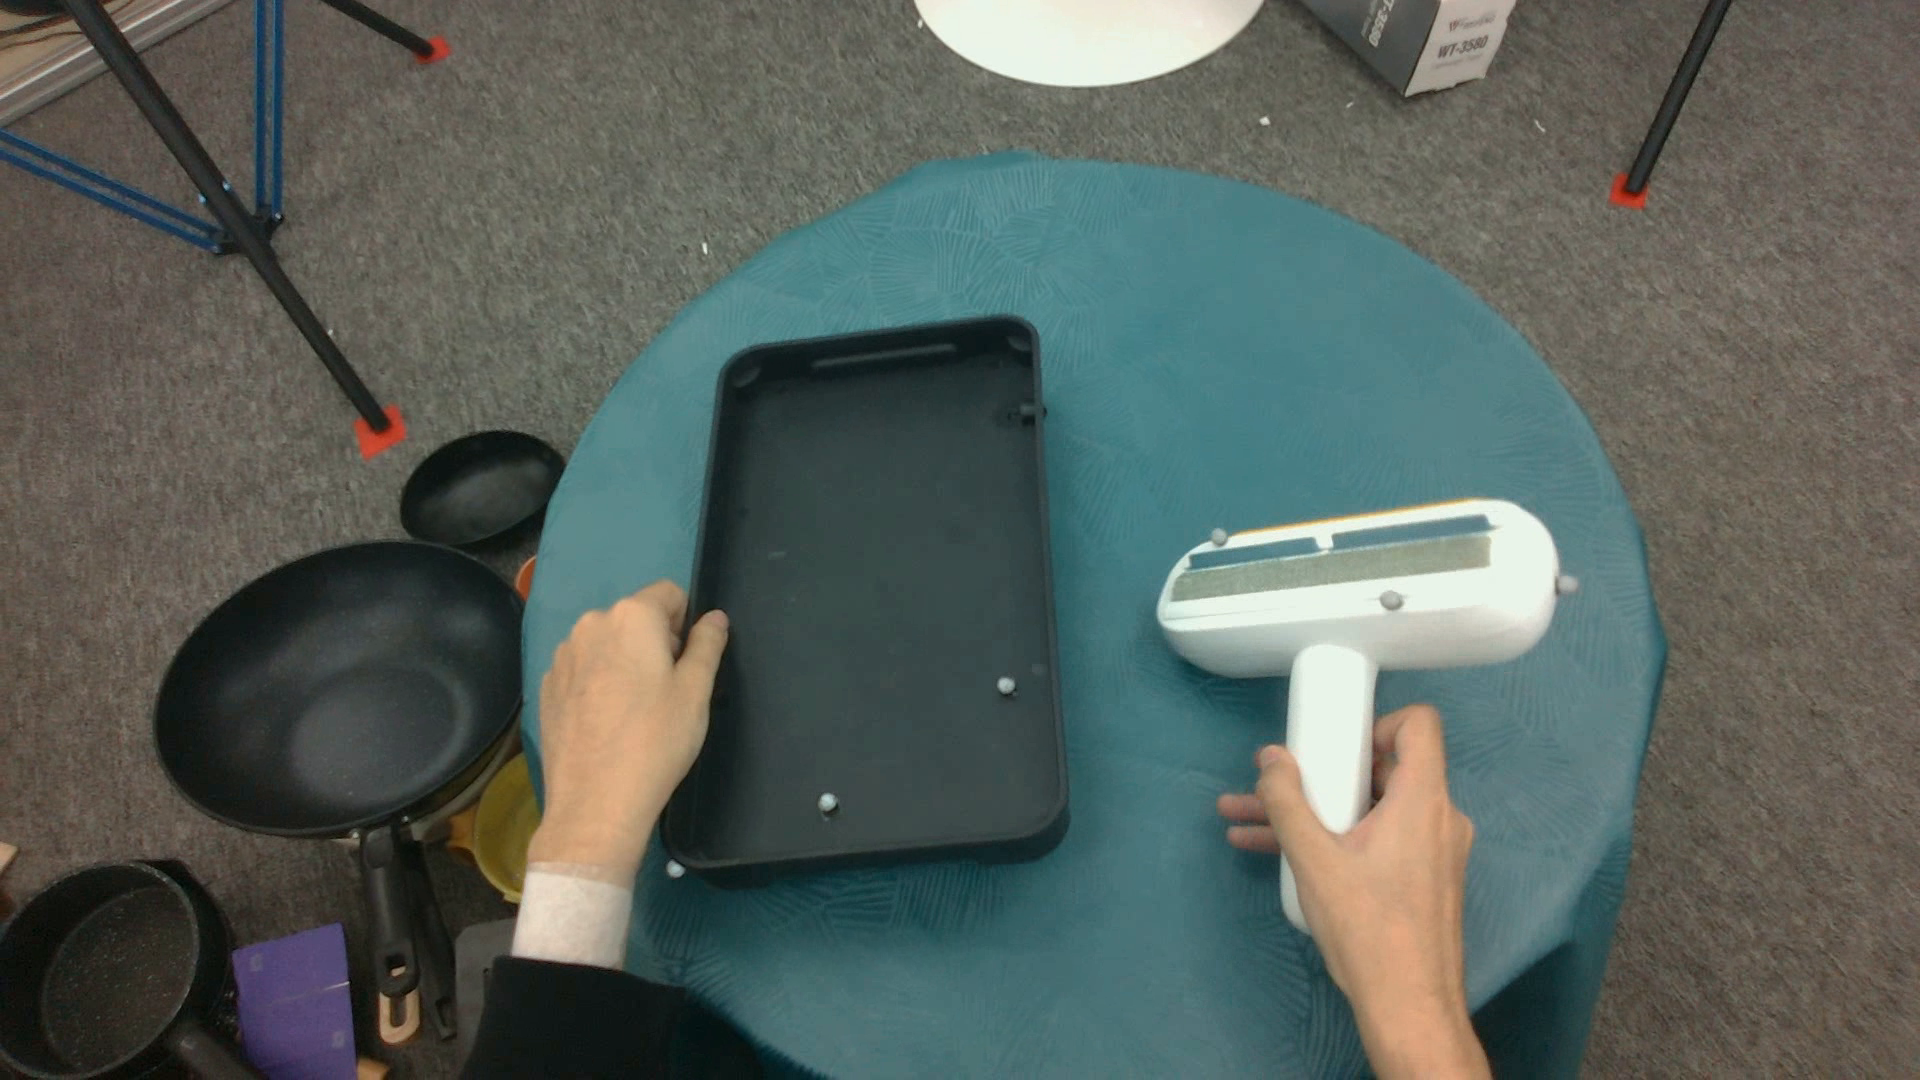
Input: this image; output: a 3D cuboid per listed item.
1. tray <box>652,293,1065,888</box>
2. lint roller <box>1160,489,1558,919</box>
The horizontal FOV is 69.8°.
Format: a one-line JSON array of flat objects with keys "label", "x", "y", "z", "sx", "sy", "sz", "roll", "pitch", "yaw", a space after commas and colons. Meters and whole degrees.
[{"label": "tray", "x": -0.051, "y": 0.011, "z": 0.690, "sx": 0.184, "sy": 0.037, "sz": 0.319, "roll": -8, "pitch": 54, "yaw": 6}, {"label": "lint roller", "x": 0.163, "y": 0.071, "z": 0.620, "sx": 0.192, "sy": 0.074, "sz": 0.193, "roll": -2, "pitch": 58, "yaw": 45}]
